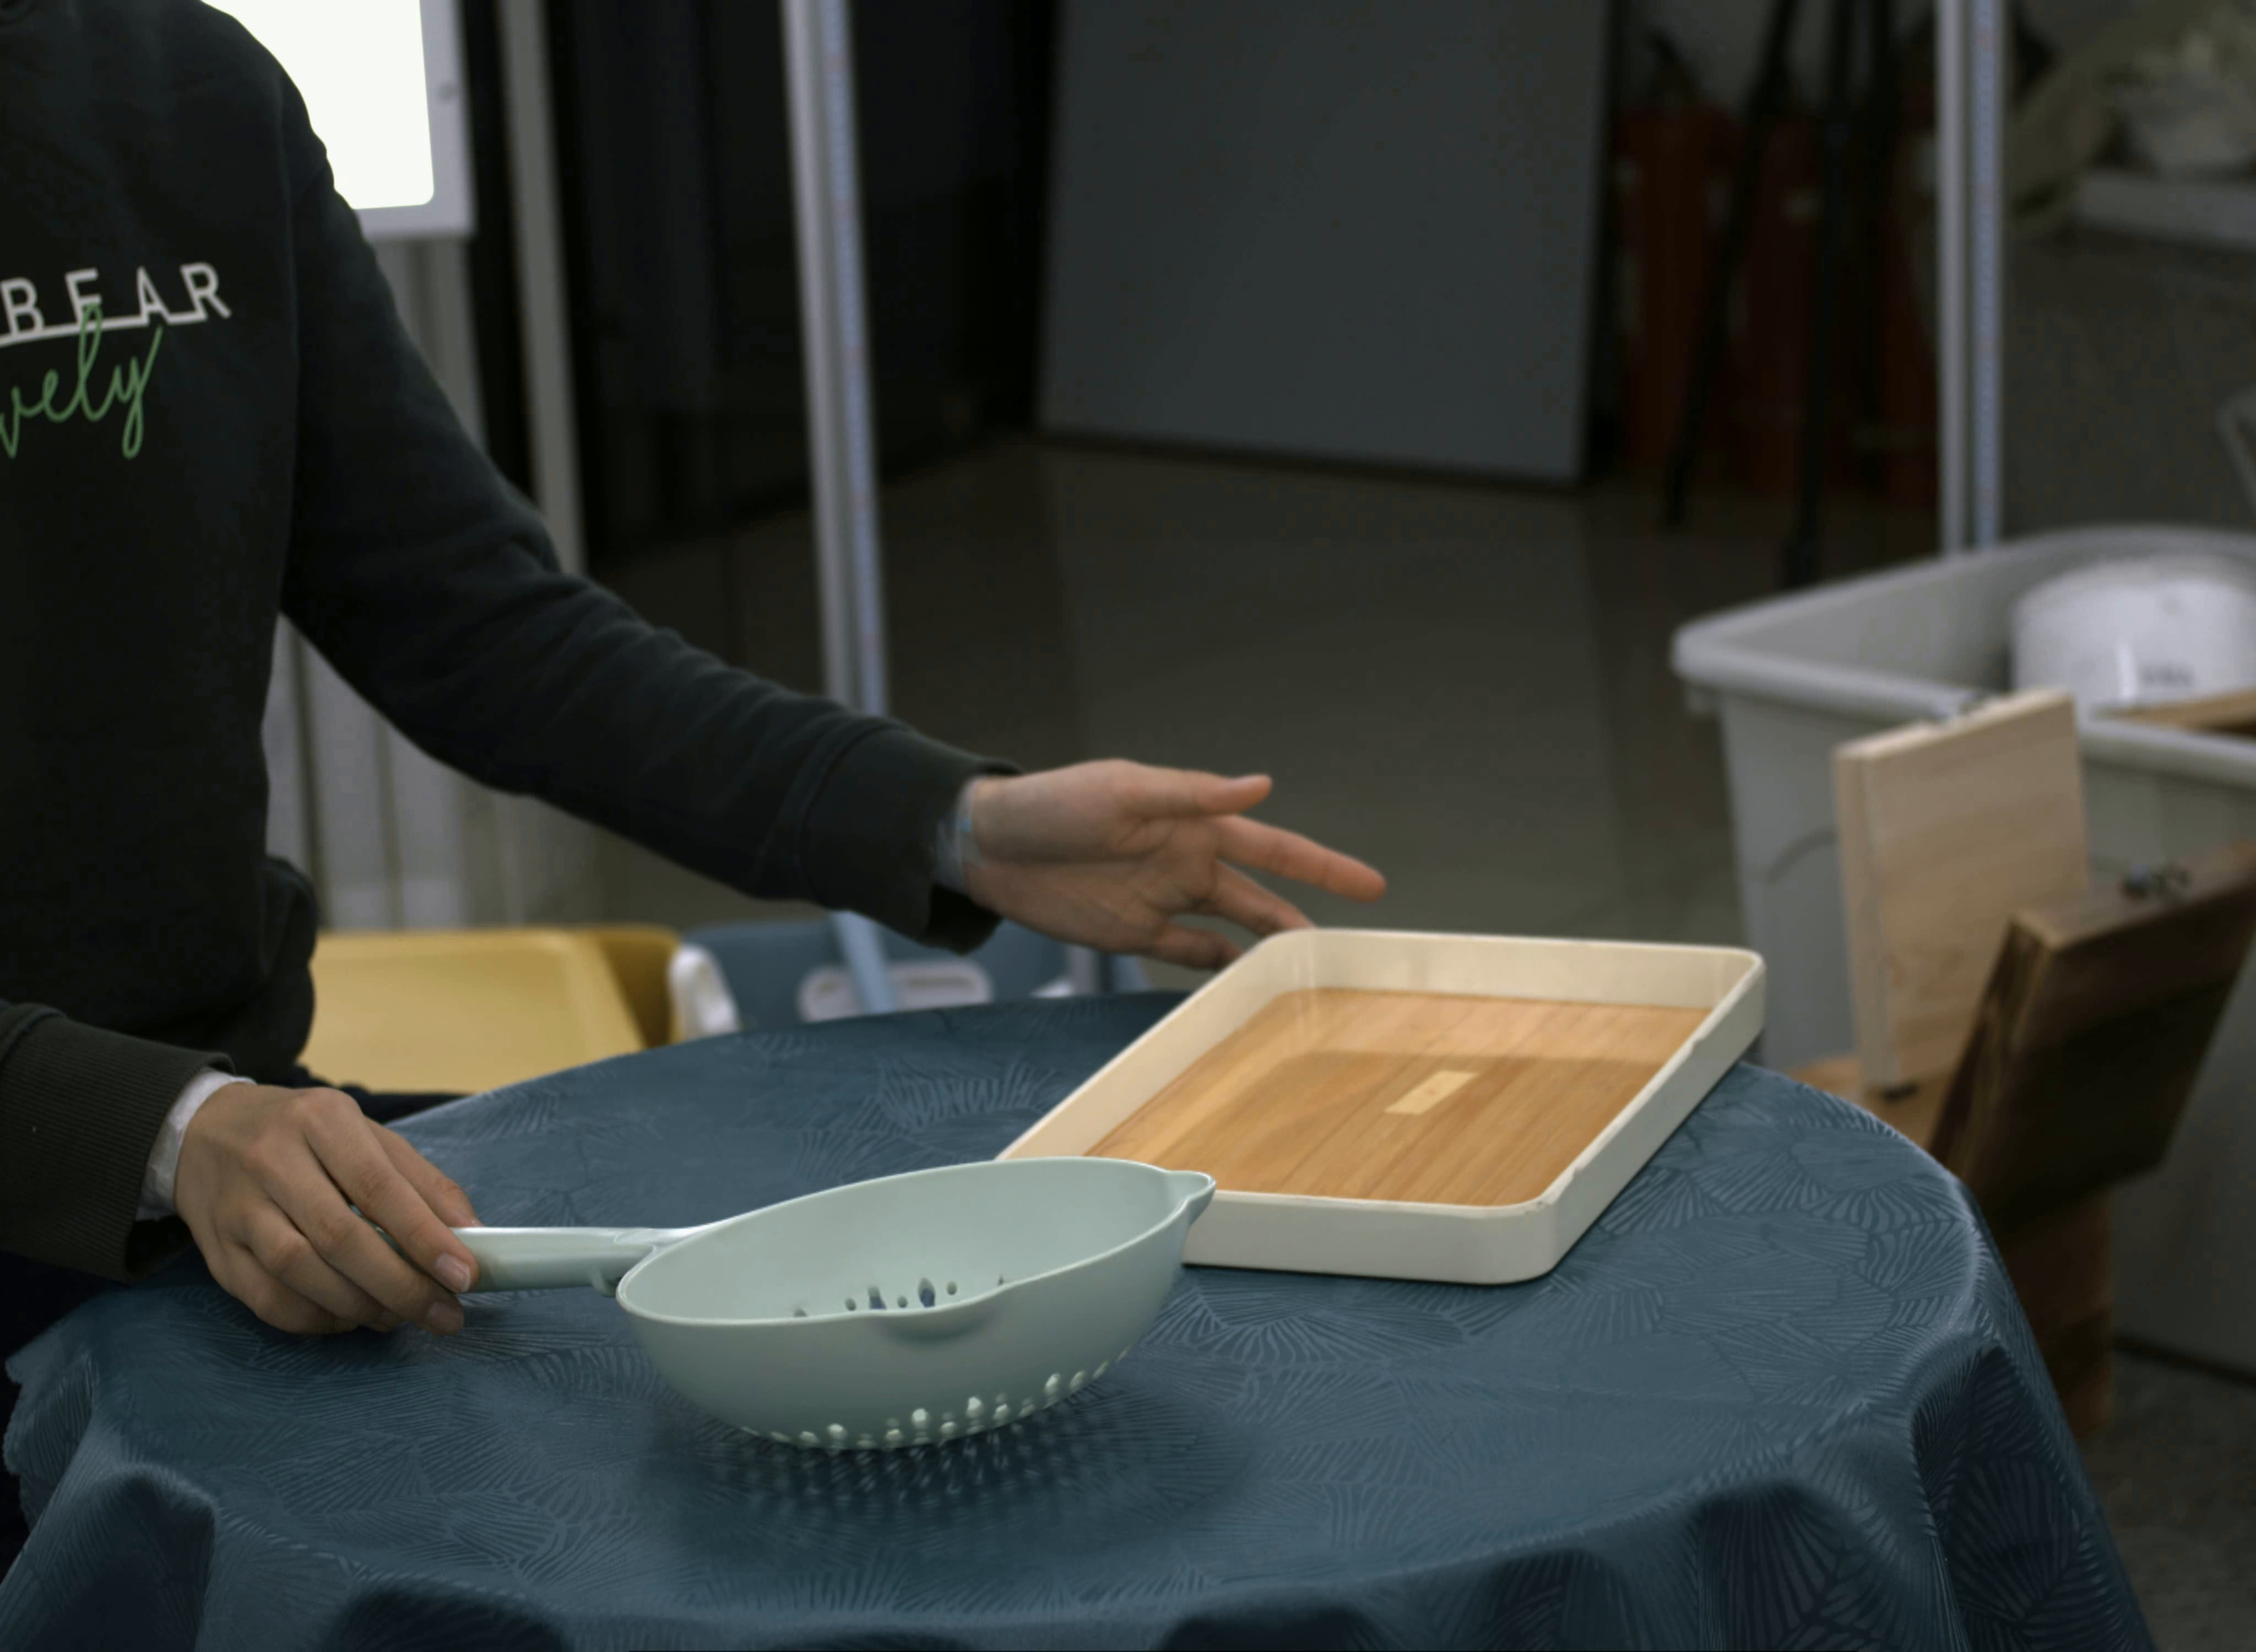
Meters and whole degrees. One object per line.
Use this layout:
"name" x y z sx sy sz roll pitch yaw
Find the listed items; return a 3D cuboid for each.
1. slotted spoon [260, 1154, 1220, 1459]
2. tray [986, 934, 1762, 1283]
"slotted spoon" -0.137 0.135 1.620 0.361 0.076 0.166 7 17 38
"tray" 0.090 0.091 1.813 0.191 0.028 0.297 2 15 22
